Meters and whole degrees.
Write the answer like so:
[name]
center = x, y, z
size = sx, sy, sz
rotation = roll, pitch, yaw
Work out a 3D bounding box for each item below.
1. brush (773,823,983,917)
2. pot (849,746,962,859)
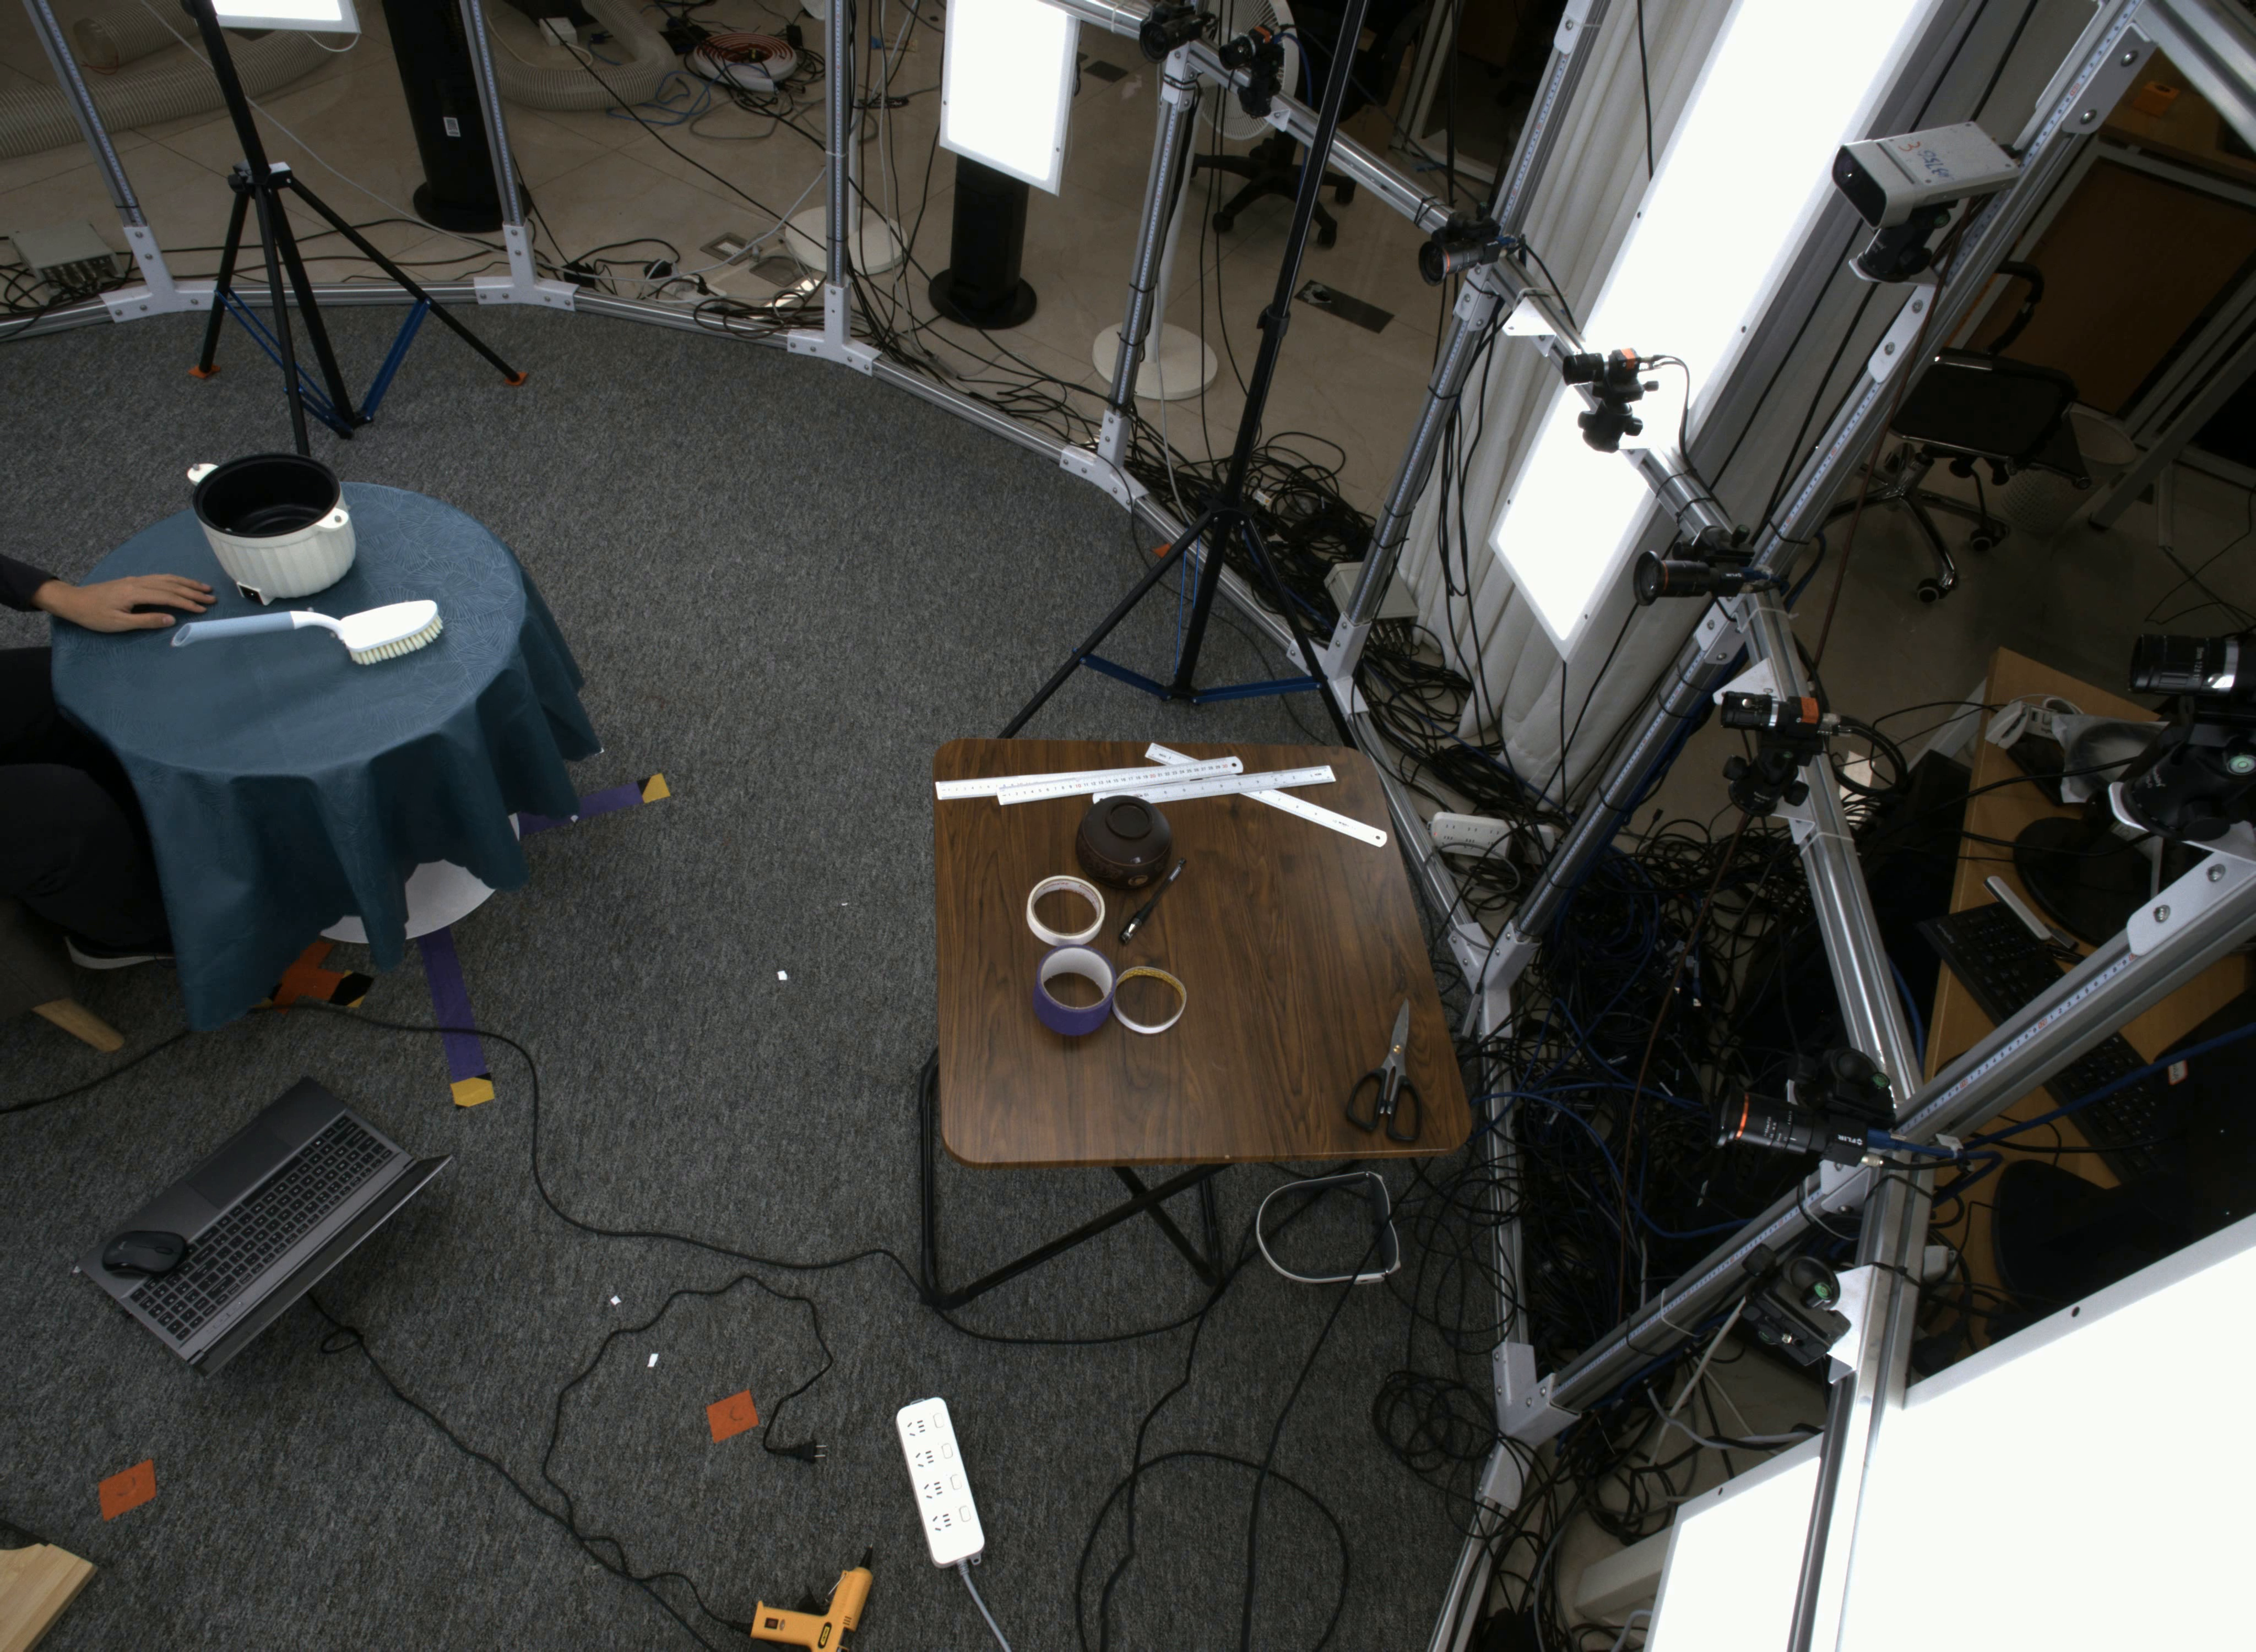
[brush]
center = -0.378, 0.078, 1.958
size = 0.326, 0.084, 0.083
rotation = 16, -14, -11
[pot]
center = -0.362, -0.036, 2.142
size = 0.192, 0.147, 0.231
rotation = -18, 35, -39
